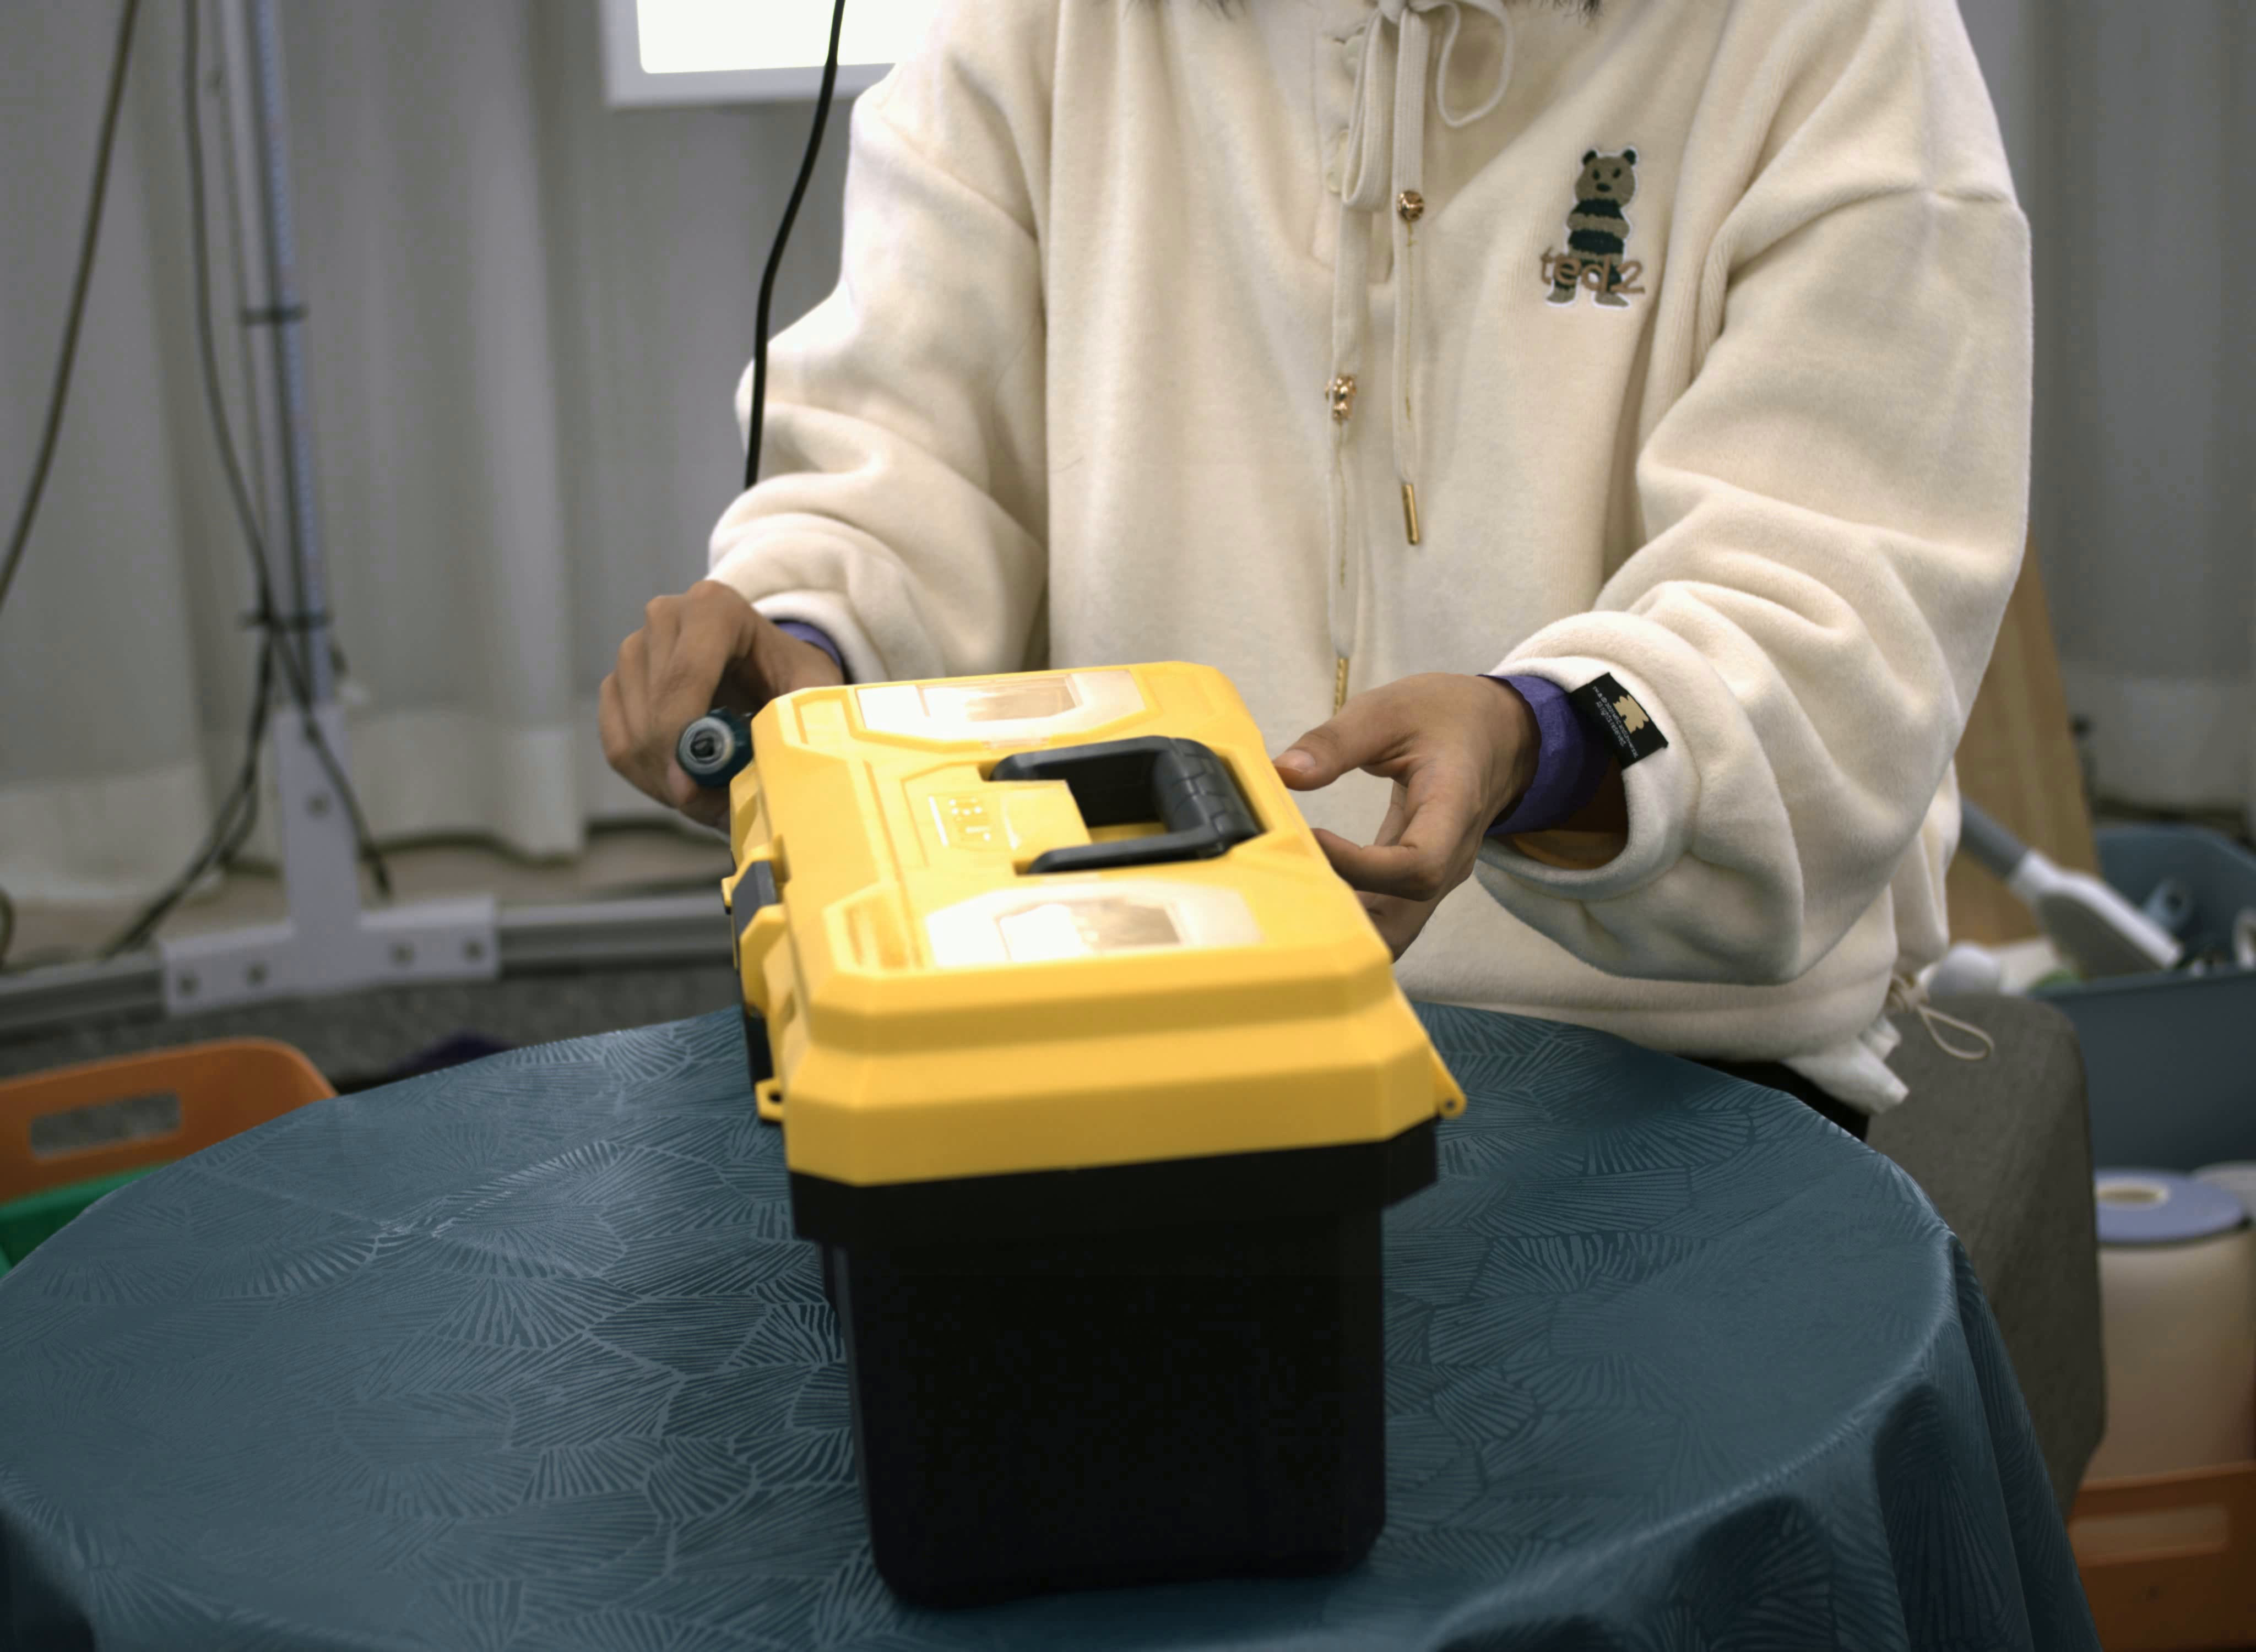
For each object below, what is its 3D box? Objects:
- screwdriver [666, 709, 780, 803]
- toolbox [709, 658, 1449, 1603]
[{"bbox_3d":[-0.131,-0.025,1.770,0.033,0.034,0.189,-1,-2,5],"label":"screwdriver"},{"bbox_3d":[-0.020,0.075,1.531,0.180,0.172,0.354,-4,15,-5],"label":"toolbox"}]
